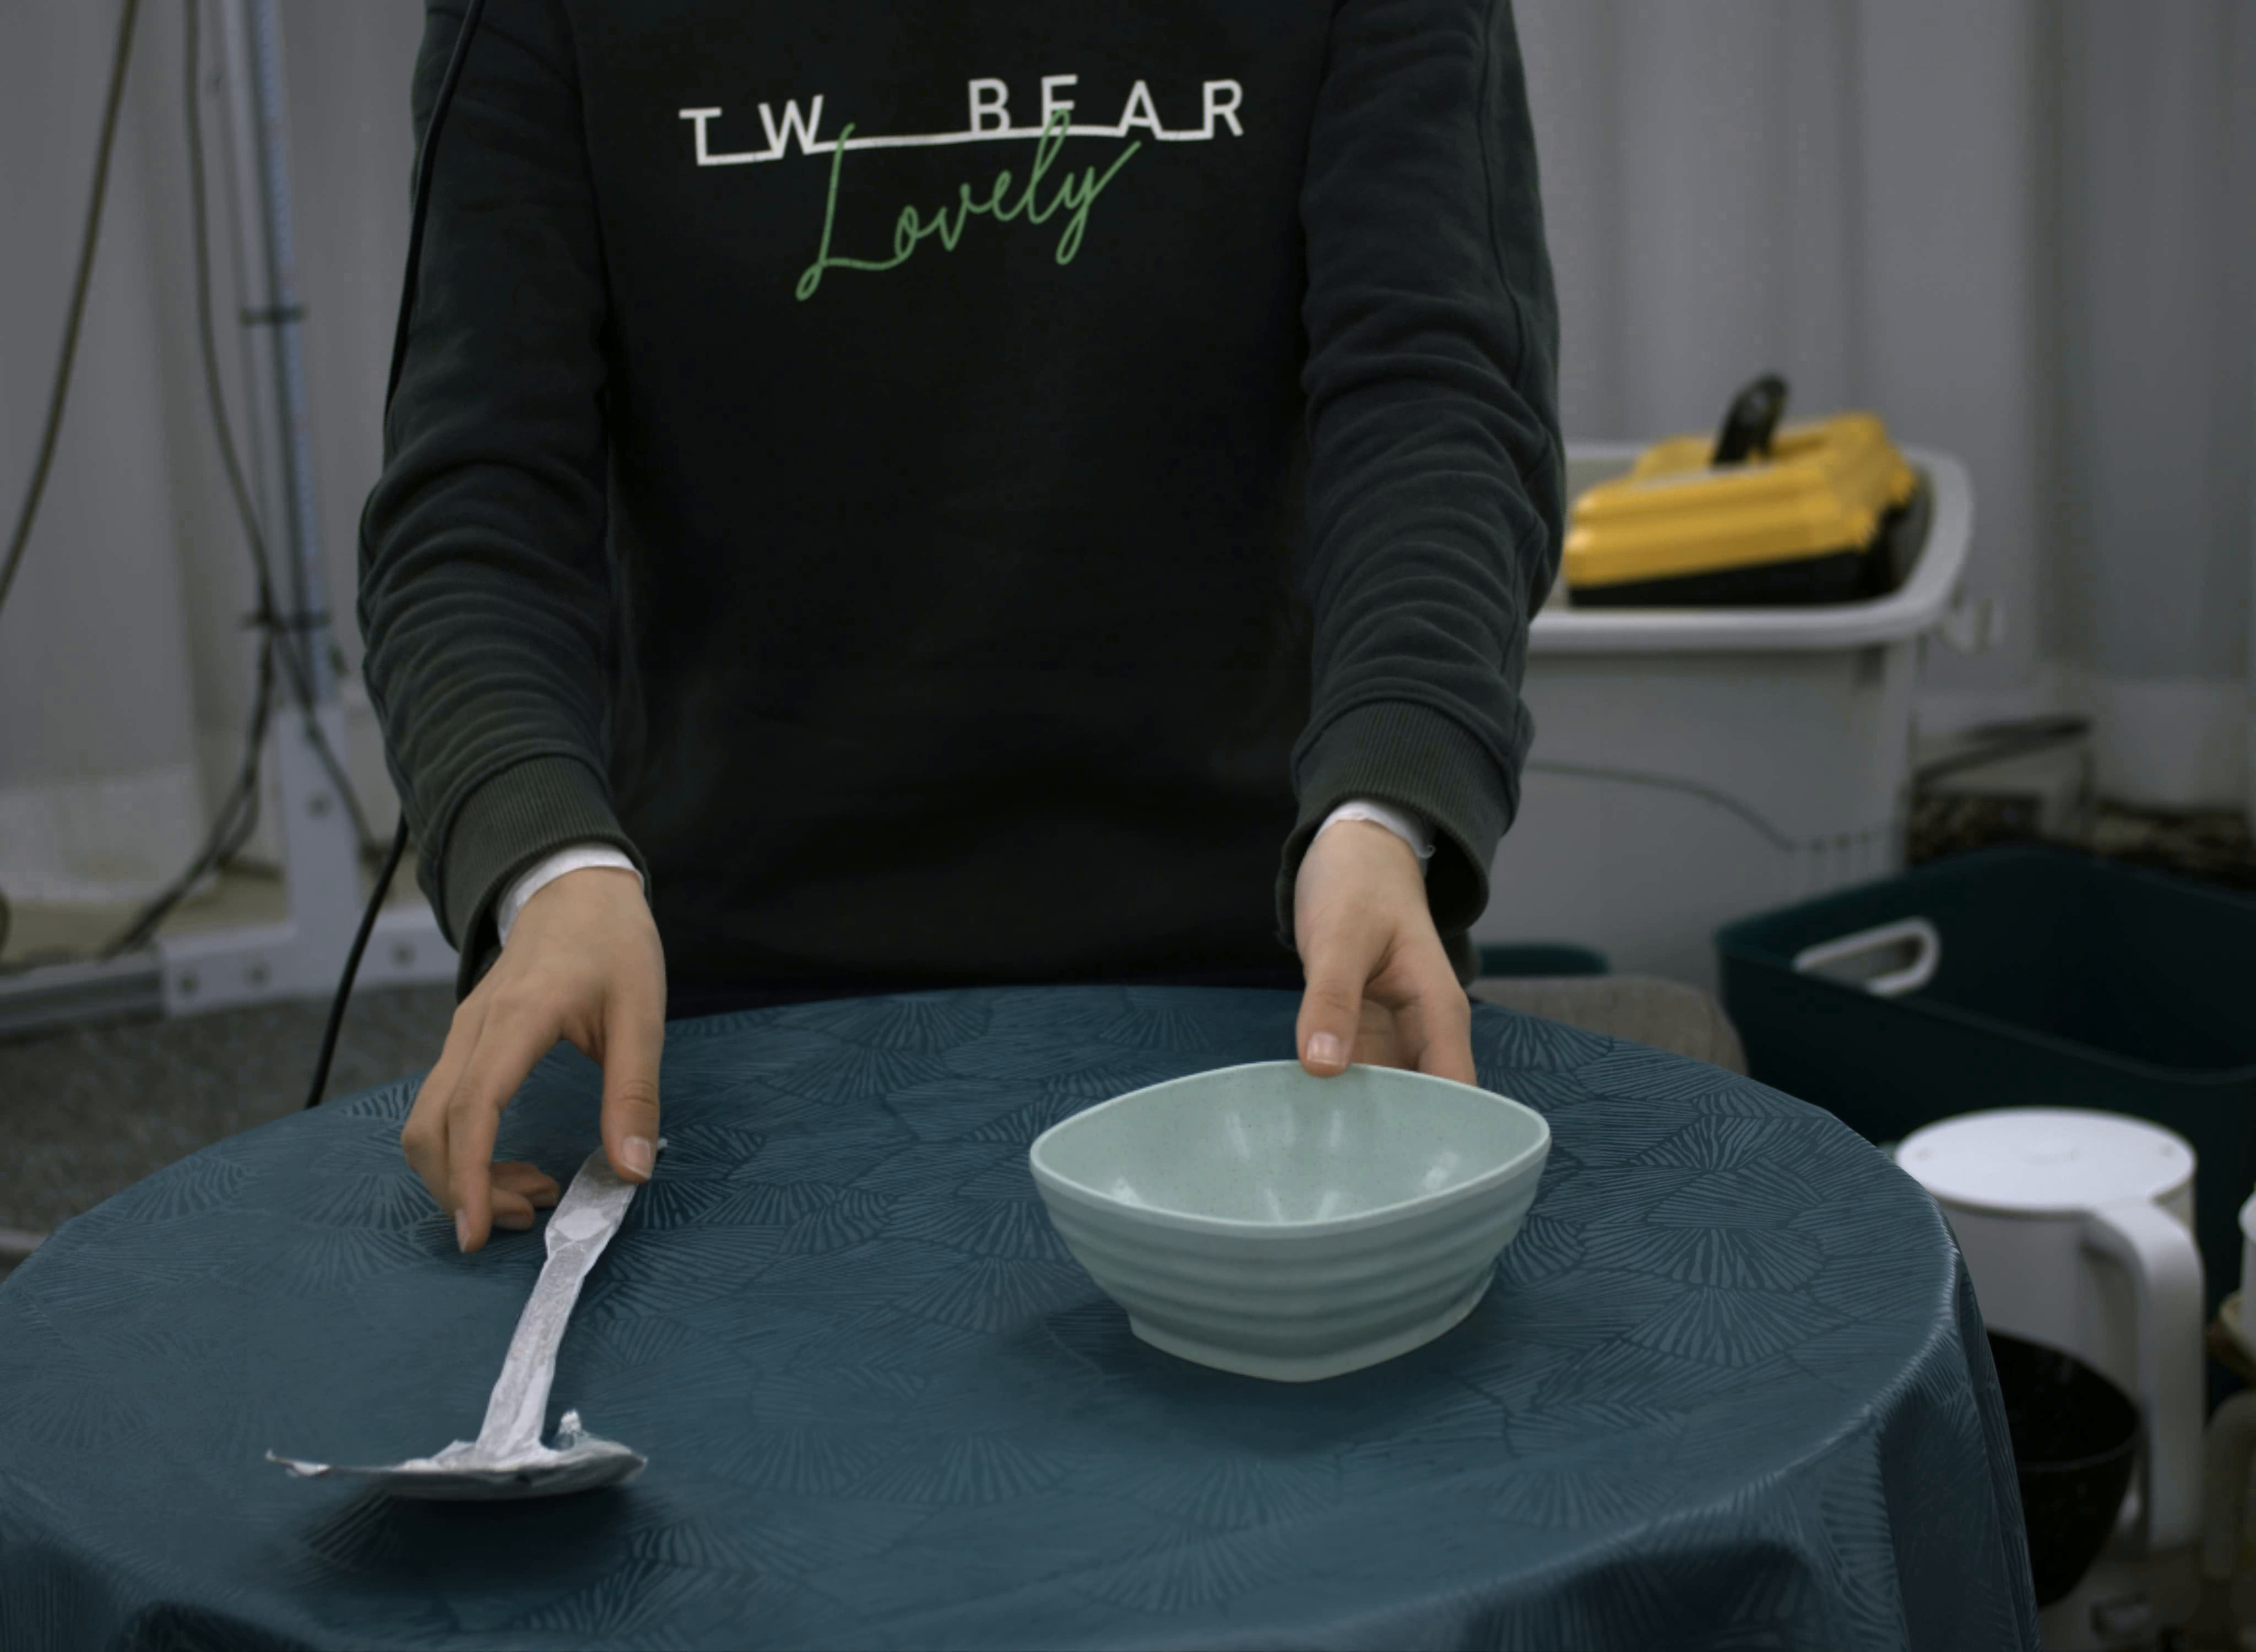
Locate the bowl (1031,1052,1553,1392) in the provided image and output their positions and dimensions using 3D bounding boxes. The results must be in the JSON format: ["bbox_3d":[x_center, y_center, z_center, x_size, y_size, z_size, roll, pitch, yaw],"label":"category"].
[{"bbox_3d":[0.048,0.118,1.585,0.151,0.058,0.152,-2,17,0],"label":"bowl"}]

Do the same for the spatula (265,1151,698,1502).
[{"bbox_3d":[-0.165,0.136,1.589,0.098,0.044,0.367,-3,15,5],"label":"spatula"}]
